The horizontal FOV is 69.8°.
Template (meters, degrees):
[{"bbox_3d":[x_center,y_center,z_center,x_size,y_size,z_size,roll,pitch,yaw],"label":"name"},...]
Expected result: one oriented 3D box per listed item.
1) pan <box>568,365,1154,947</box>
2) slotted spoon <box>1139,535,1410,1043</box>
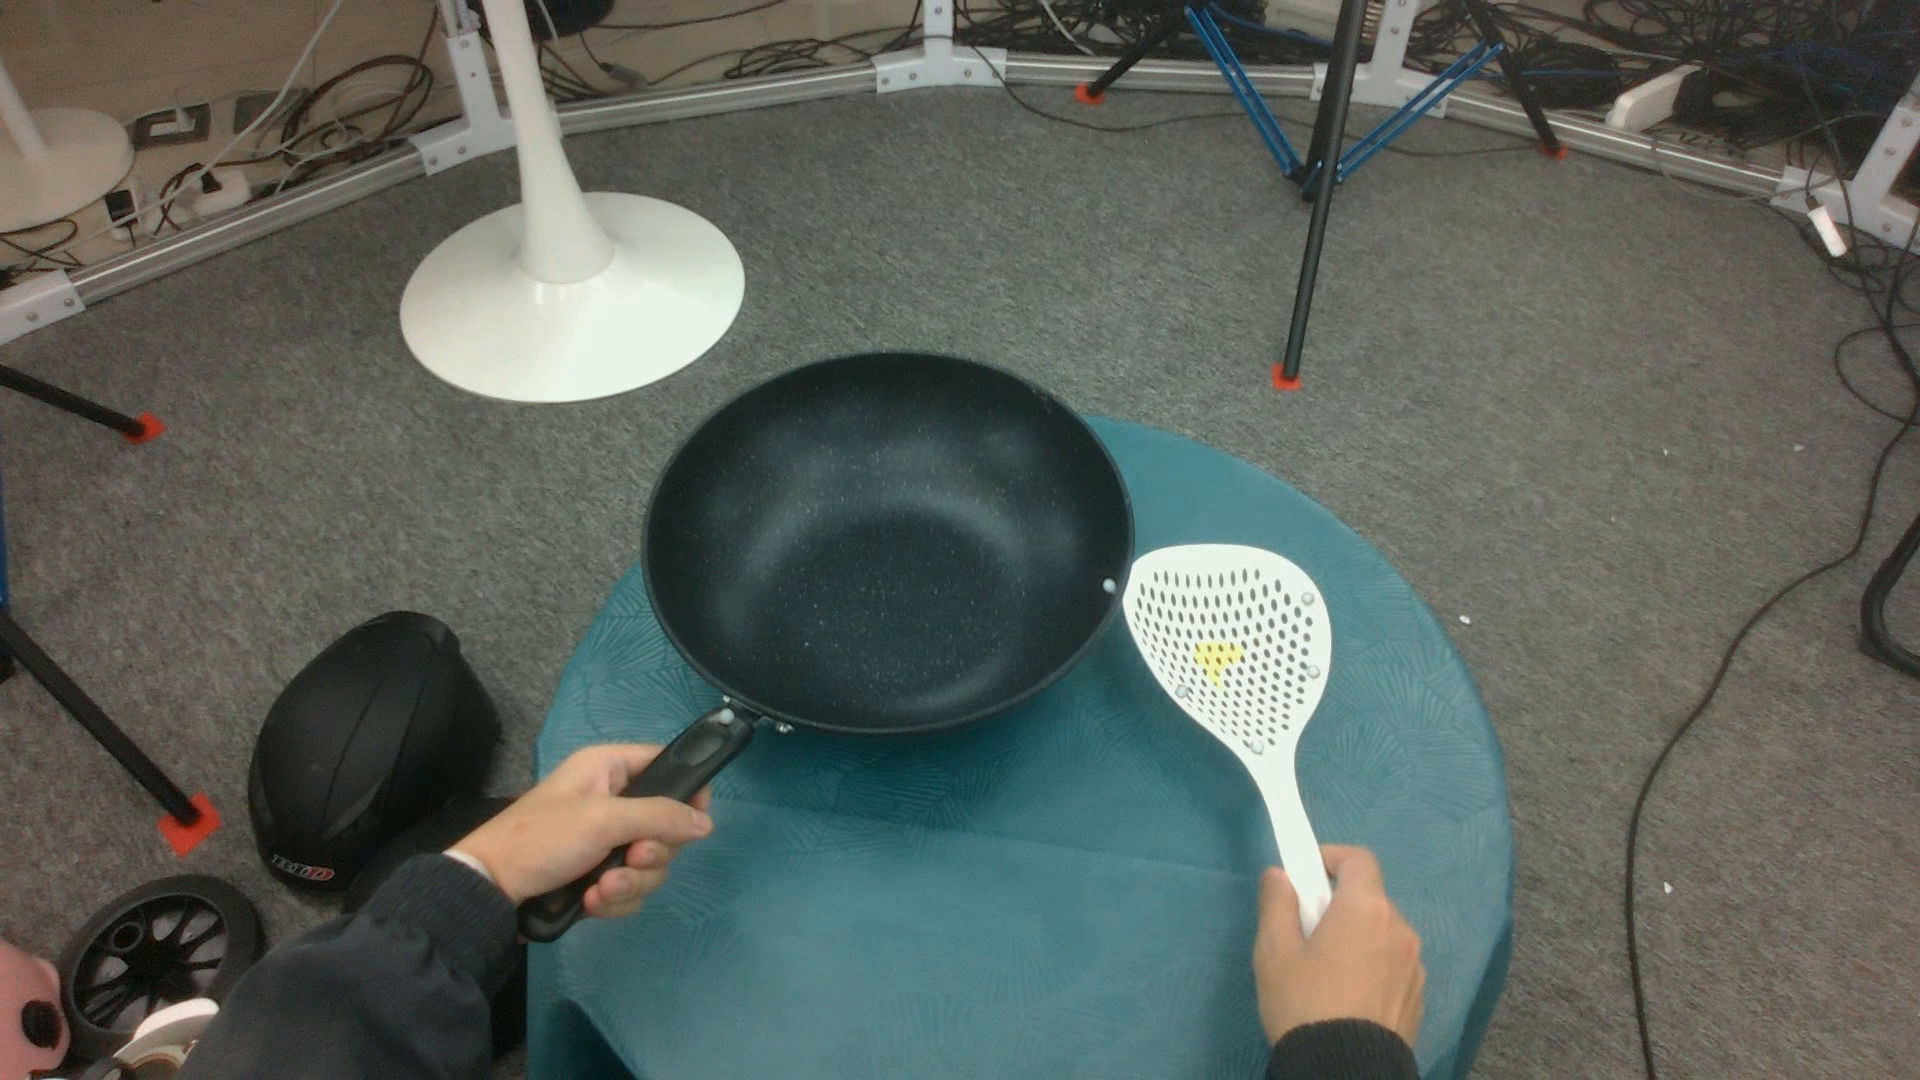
[{"bbox_3d":[-0.070,0.069,0.858,0.310,0.111,0.479,21,54,21],"label":"pan"},{"bbox_3d":[0.198,0.128,0.826,0.137,0.050,0.349,-3,42,-6],"label":"slotted spoon"}]
